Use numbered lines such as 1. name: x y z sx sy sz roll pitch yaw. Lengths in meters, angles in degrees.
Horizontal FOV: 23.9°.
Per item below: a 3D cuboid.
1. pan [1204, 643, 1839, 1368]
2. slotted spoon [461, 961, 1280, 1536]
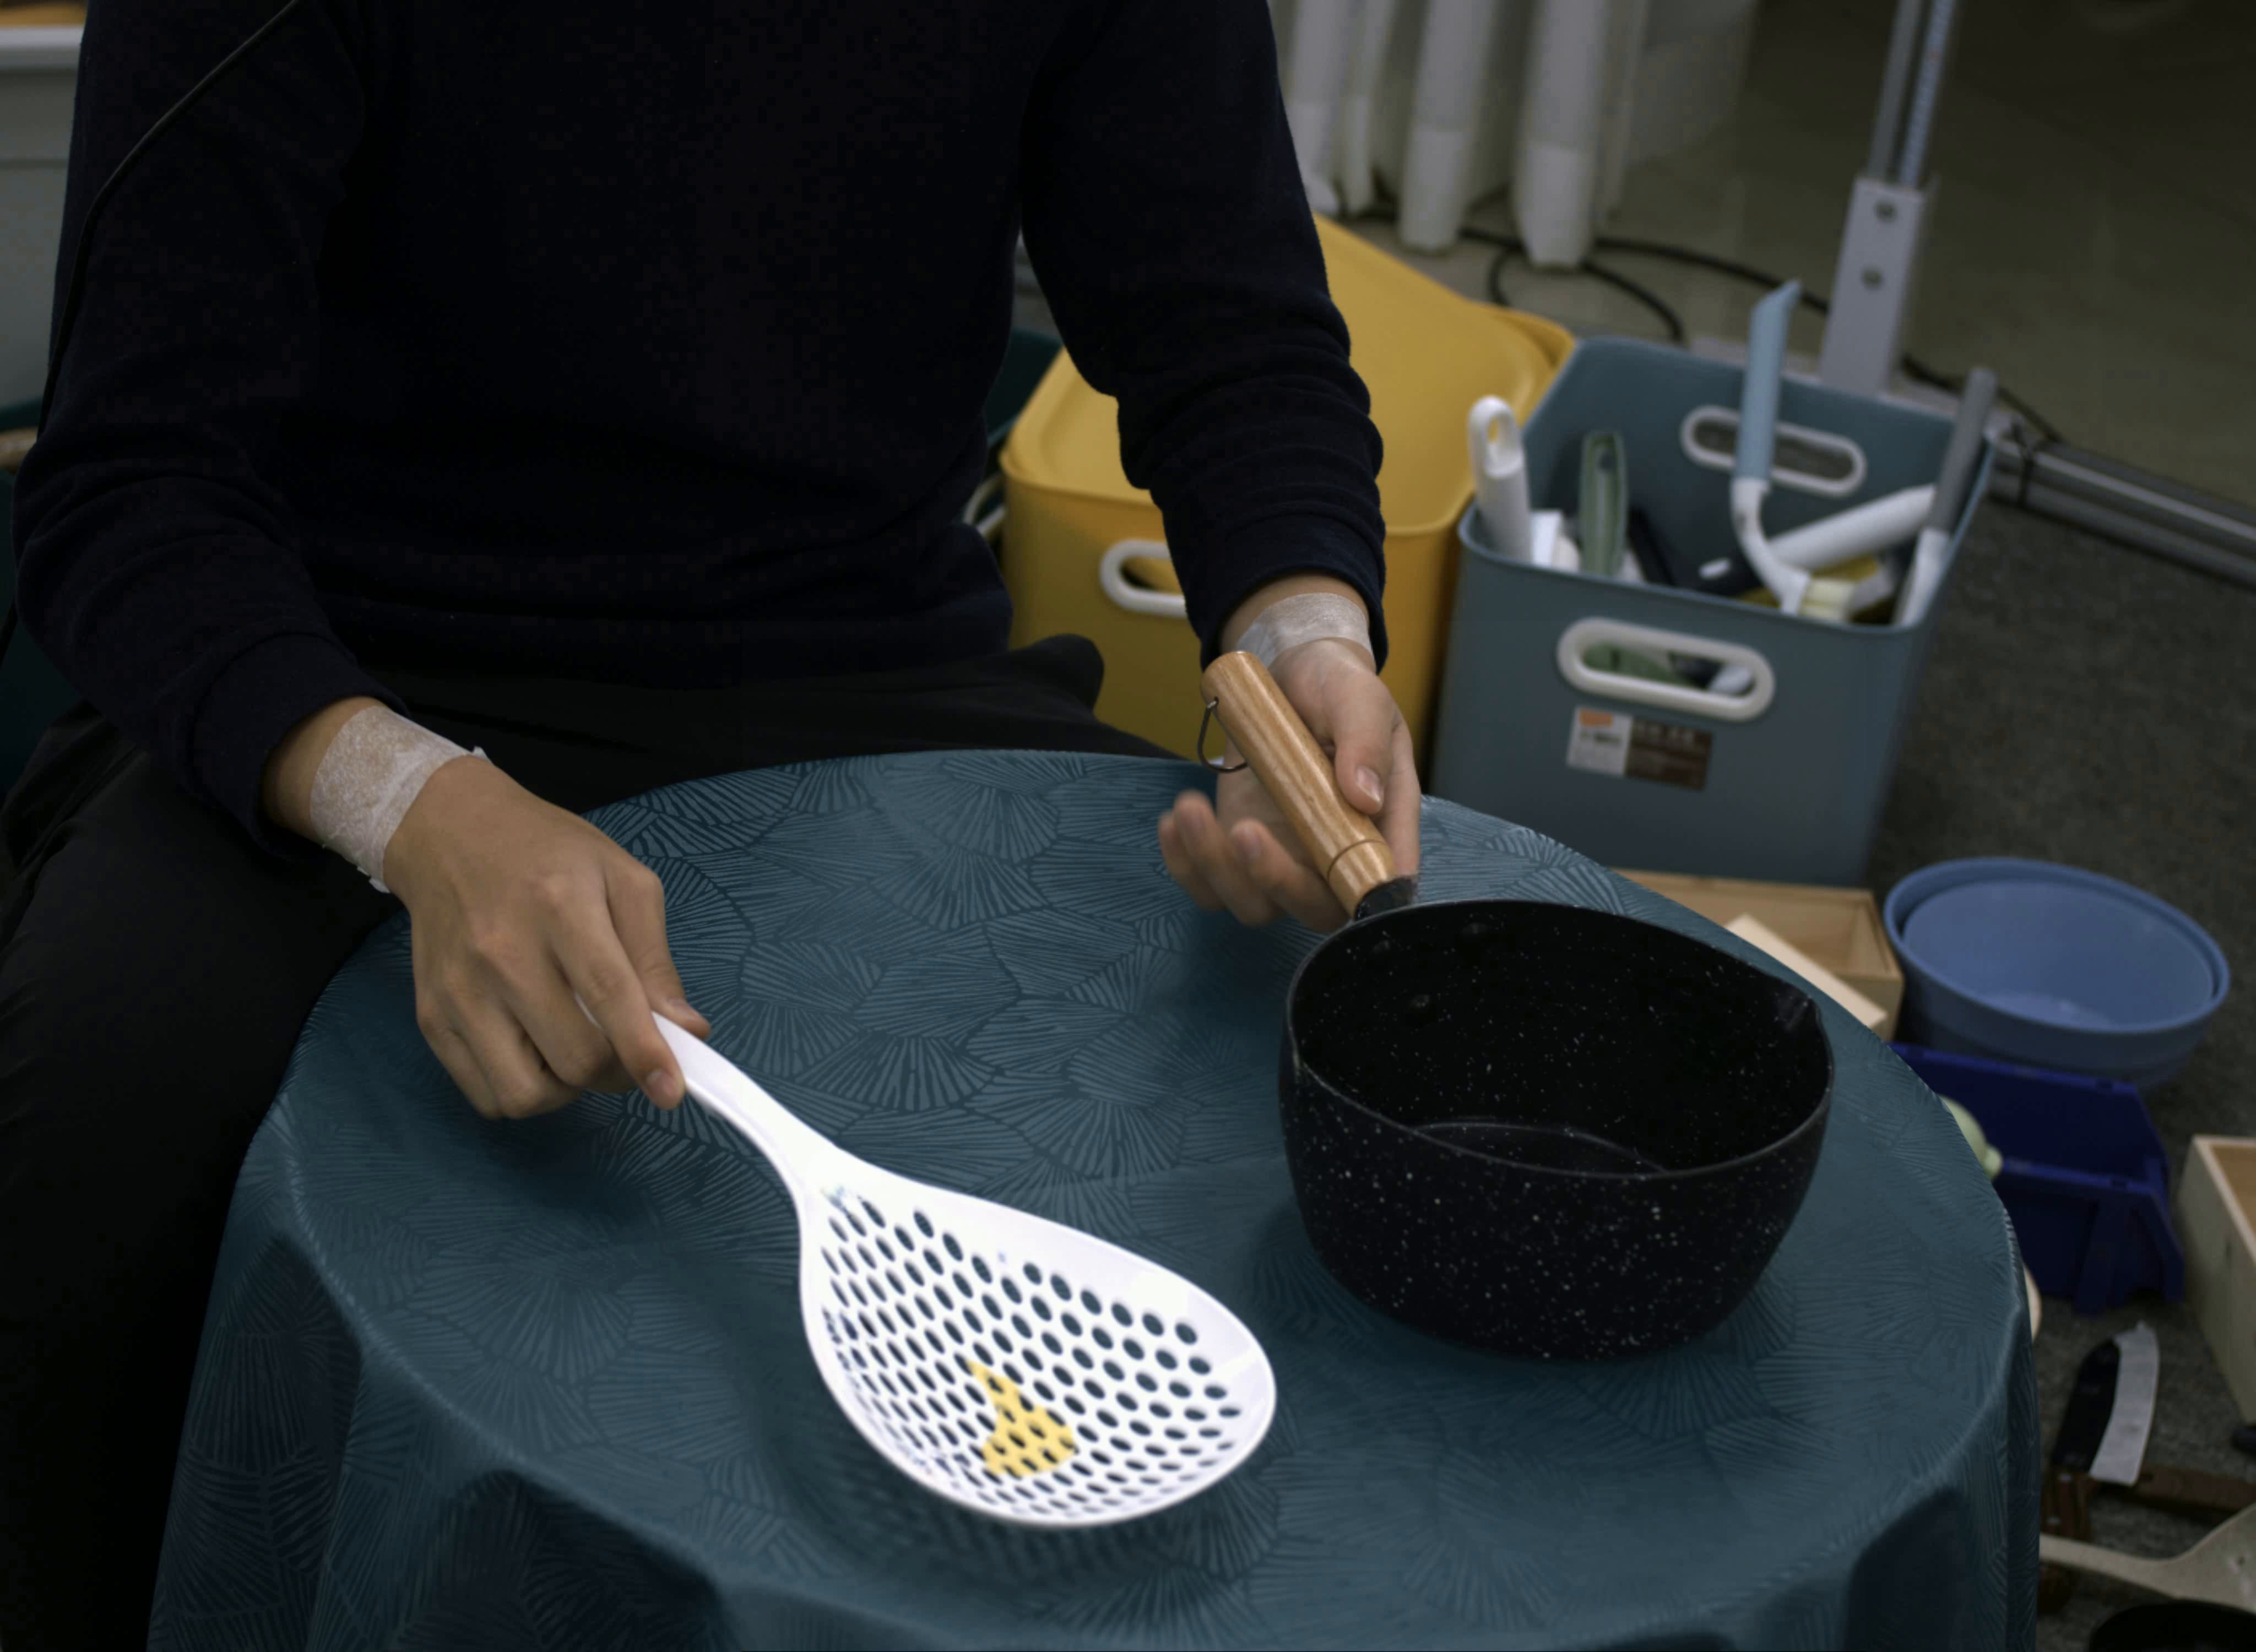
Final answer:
1. pan: 0.104 0.059 1.835 0.206 0.108 0.346 -9 32 -26
2. slotted spoon: -0.097 0.122 1.699 0.136 0.050 0.351 -24 50 -36
